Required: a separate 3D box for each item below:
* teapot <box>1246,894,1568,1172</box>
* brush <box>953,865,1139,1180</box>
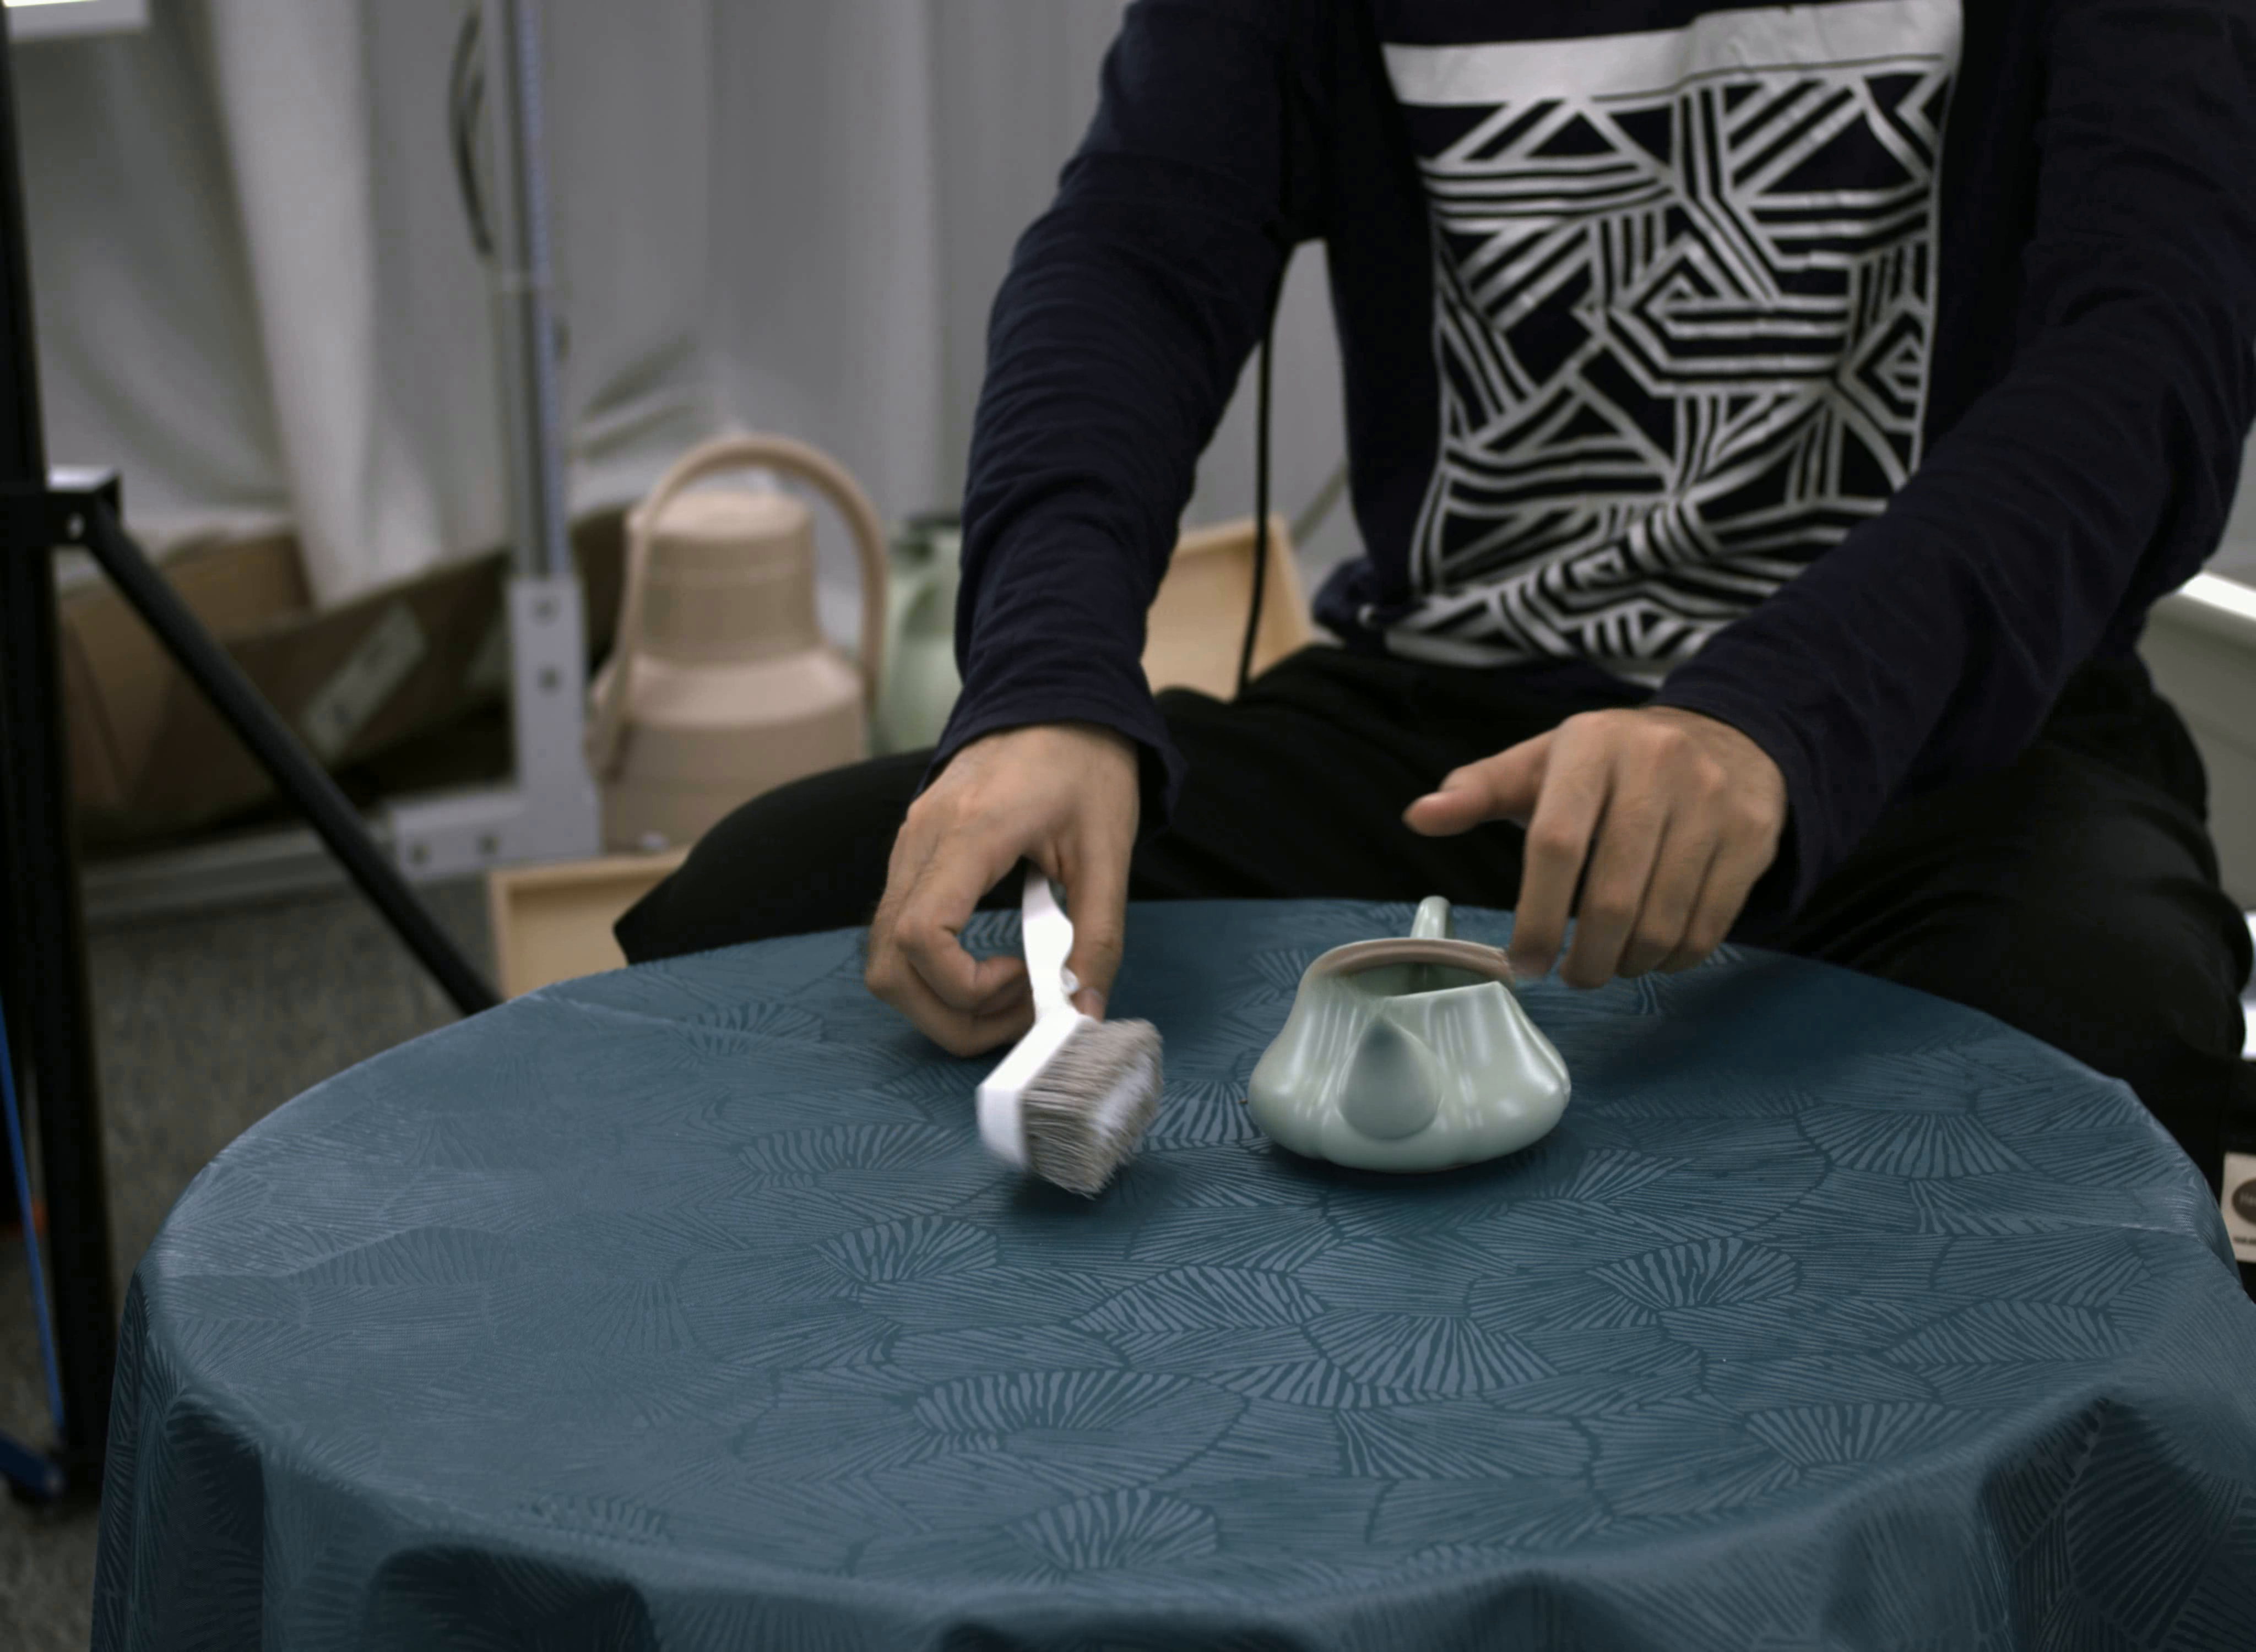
[{"bbox_3d":[0.084,0.065,1.587,0.096,0.061,0.136,-2,16,10],"label":"teapot"},{"bbox_3d":[-0.017,0.054,1.648,0.050,0.034,0.244,-11,16,7],"label":"brush"}]
